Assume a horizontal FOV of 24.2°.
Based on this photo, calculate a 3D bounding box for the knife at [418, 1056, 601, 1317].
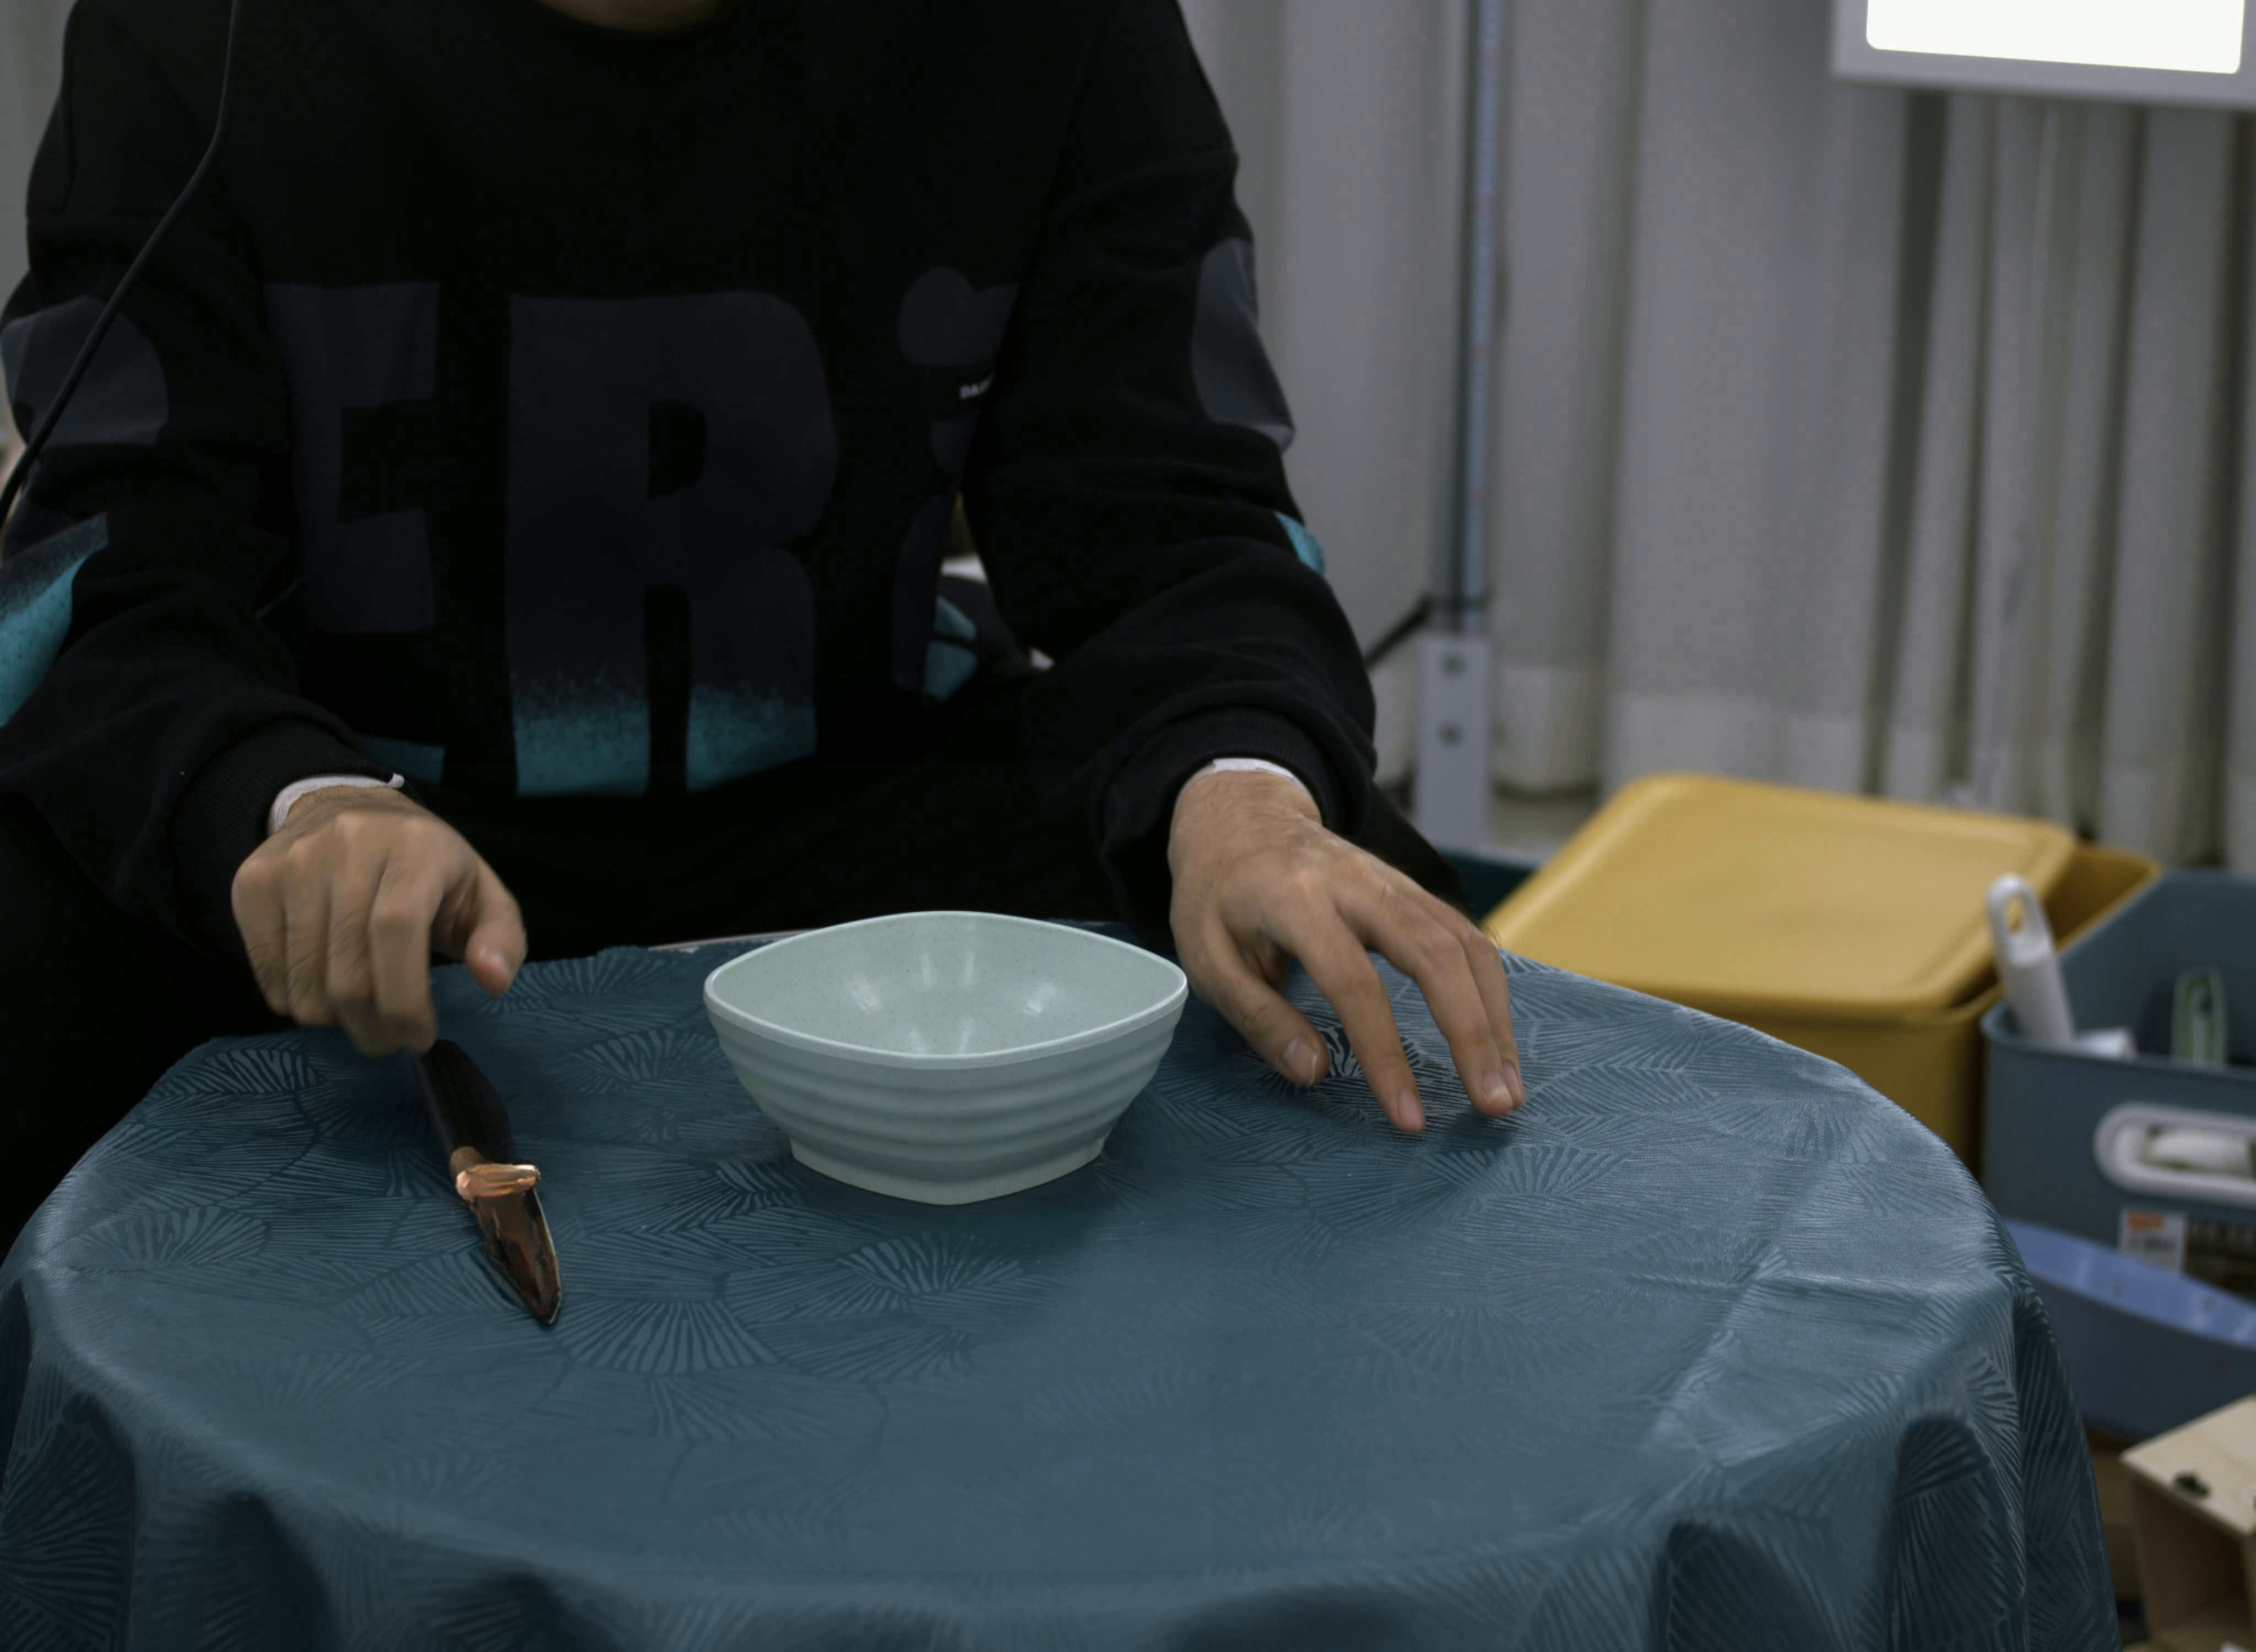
[{"bbox_3d":[-0.190,0.109,1.604,0.026,0.017,0.223,-7,18,-15],"label":"knife"}]

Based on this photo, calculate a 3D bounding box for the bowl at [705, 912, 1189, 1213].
[{"bbox_3d":[-0.056,0.077,1.647,0.151,0.059,0.150,-1,17,1],"label":"bowl"}]
